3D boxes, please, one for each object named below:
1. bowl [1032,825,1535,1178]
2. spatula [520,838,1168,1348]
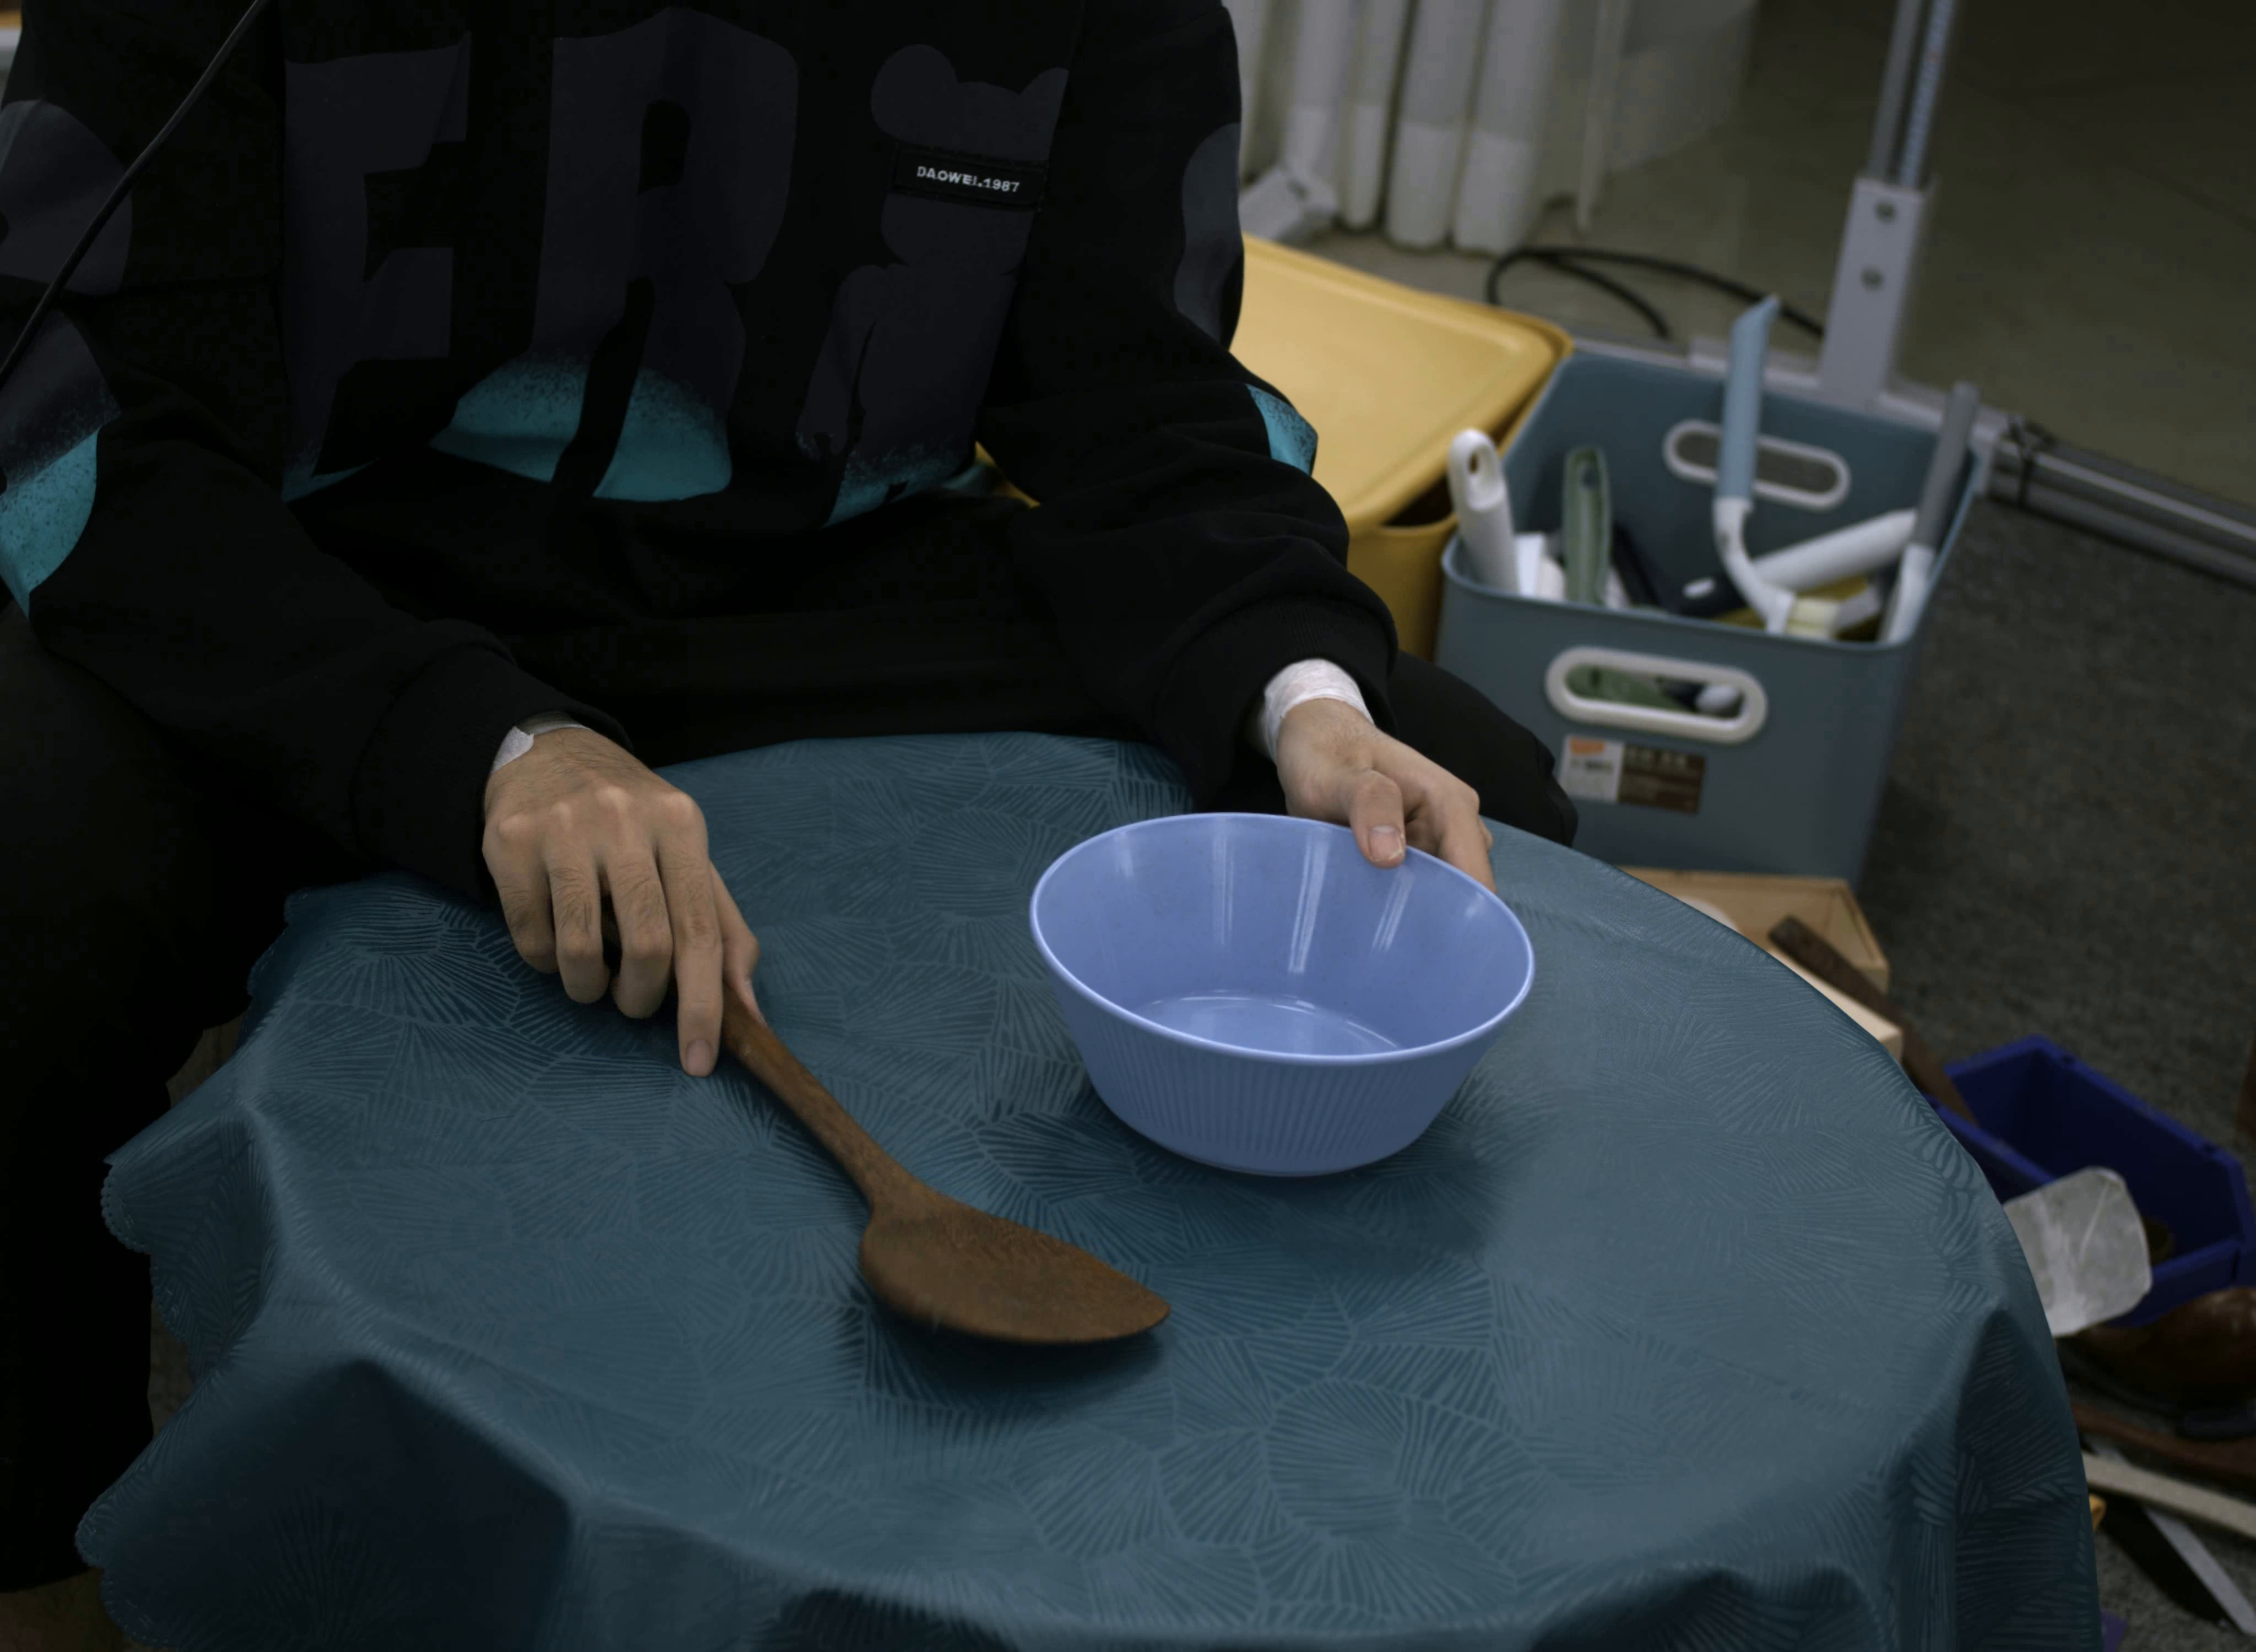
[{"bbox_3d":[0.051,0.066,1.849,0.175,0.070,0.177,5,25,-3],"label":"bowl"},{"bbox_3d":[-0.117,0.085,1.823,0.095,0.016,0.389,5,22,-36],"label":"spatula"}]
